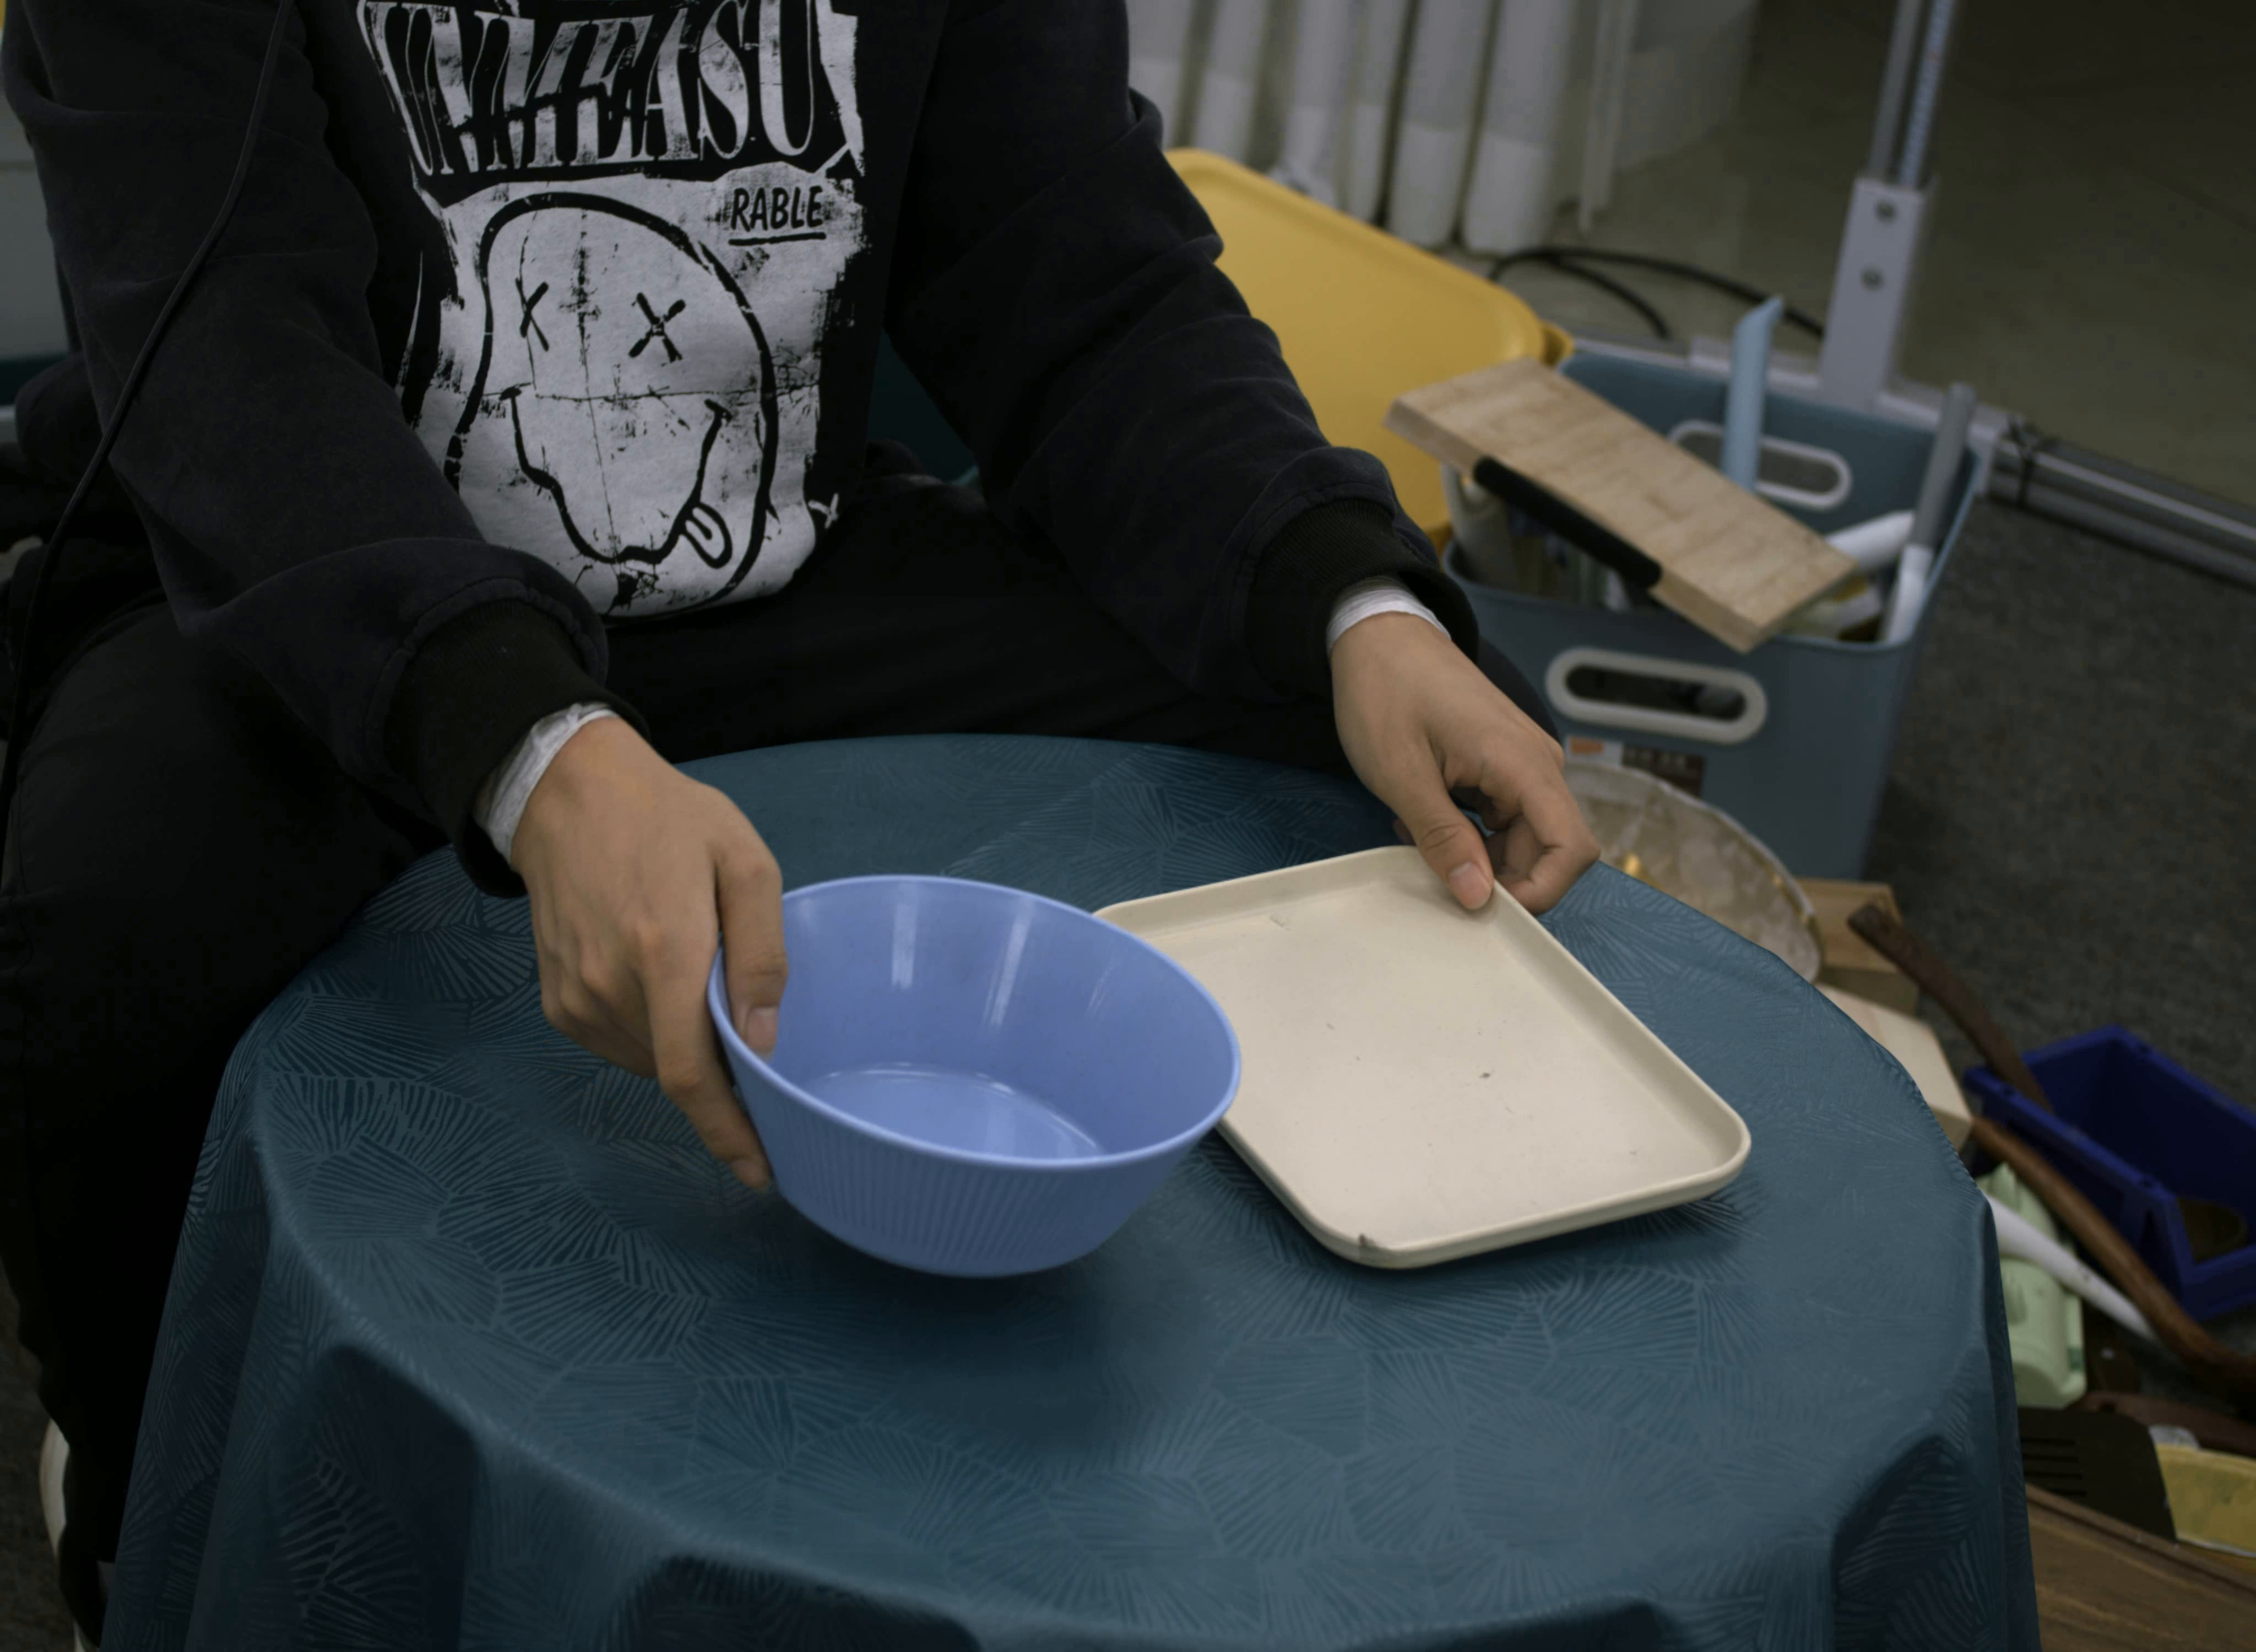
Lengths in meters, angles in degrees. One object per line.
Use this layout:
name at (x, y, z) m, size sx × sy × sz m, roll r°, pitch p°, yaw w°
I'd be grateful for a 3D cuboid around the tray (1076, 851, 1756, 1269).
tray at (0.098, 0.081, 1.875) m, size 0.170 × 0.017 × 0.242 m, roll -10°, pitch 32°, yaw -24°

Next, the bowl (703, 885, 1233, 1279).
bowl at (-0.057, 0.090, 1.737) m, size 0.175 × 0.070 × 0.177 m, roll 10°, pitch 27°, yaw -6°
